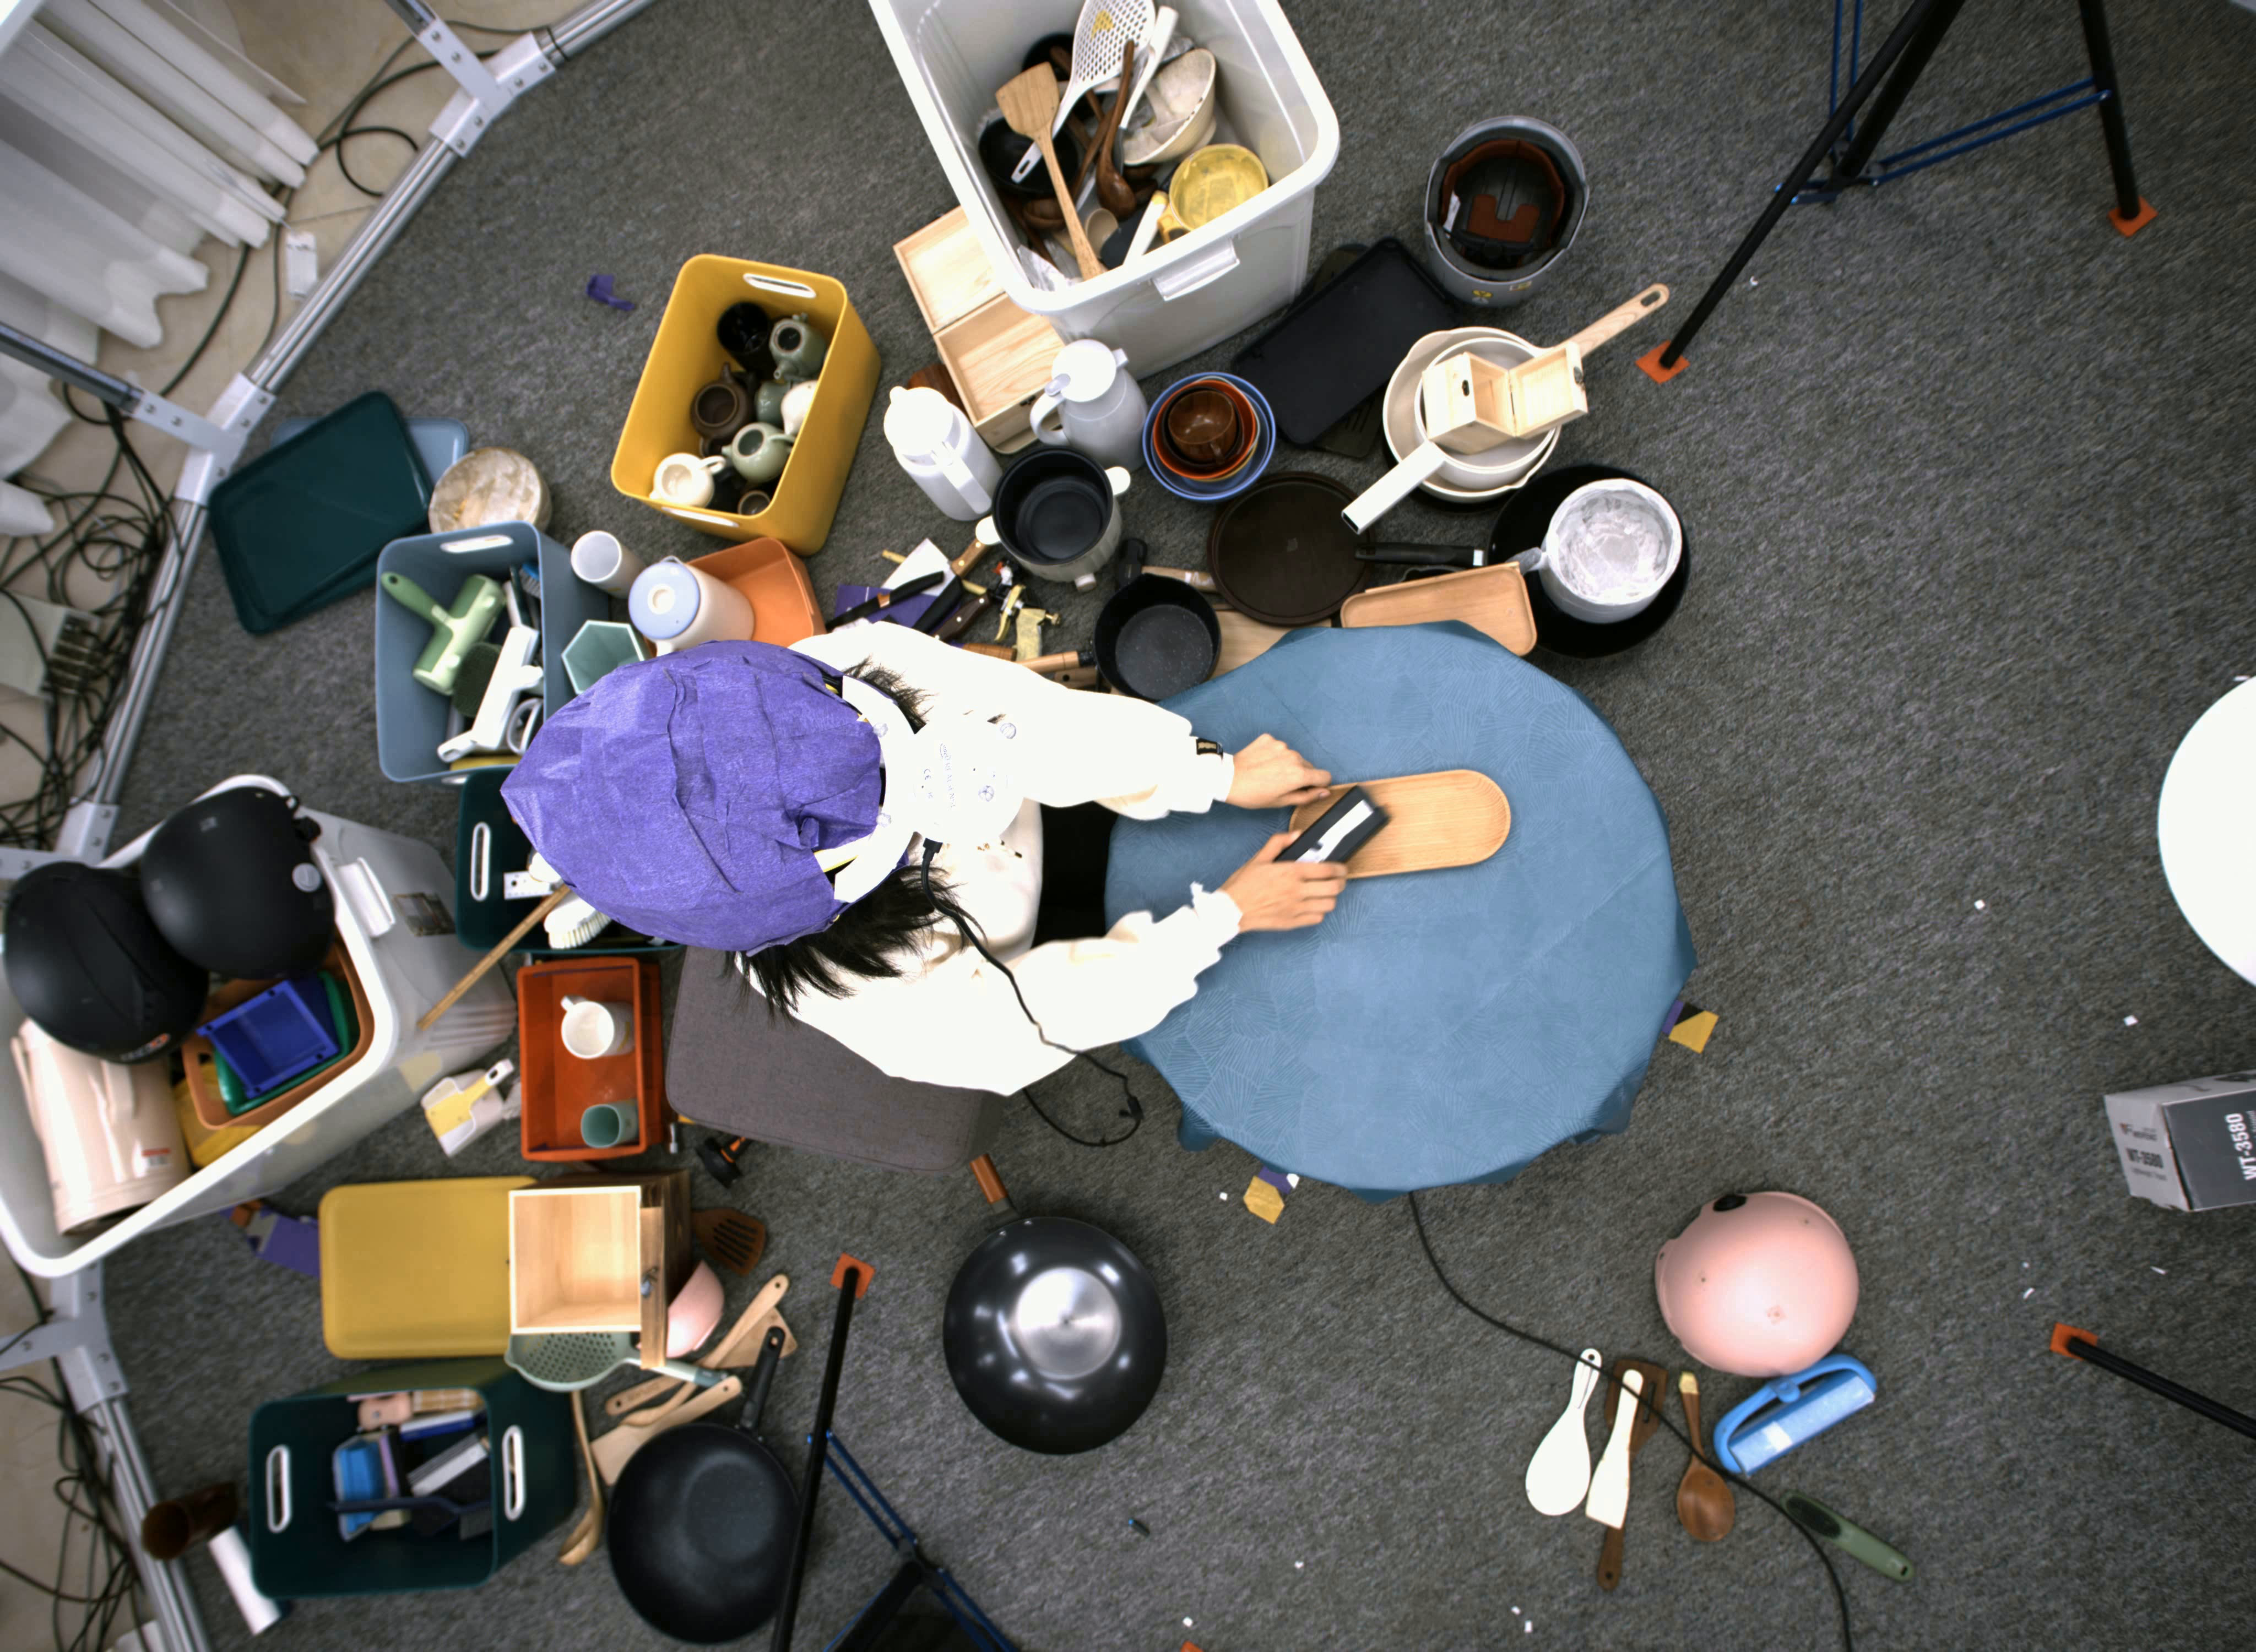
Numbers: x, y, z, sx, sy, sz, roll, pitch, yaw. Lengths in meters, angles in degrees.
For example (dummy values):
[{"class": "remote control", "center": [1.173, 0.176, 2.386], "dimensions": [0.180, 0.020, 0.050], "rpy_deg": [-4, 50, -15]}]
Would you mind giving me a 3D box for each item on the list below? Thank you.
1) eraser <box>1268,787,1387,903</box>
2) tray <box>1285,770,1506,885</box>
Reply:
[{"class": "eraser", "center": [0.209, 0.019, 1.446], "dimensions": [0.125, 0.031, 0.053], "rpy_deg": [-43, 73, 0]}, {"class": "tray", "center": [0.281, 0.001, 1.454], "dimensions": [0.232, 0.020, 0.101], "rpy_deg": [-9, 83, 12]}]
